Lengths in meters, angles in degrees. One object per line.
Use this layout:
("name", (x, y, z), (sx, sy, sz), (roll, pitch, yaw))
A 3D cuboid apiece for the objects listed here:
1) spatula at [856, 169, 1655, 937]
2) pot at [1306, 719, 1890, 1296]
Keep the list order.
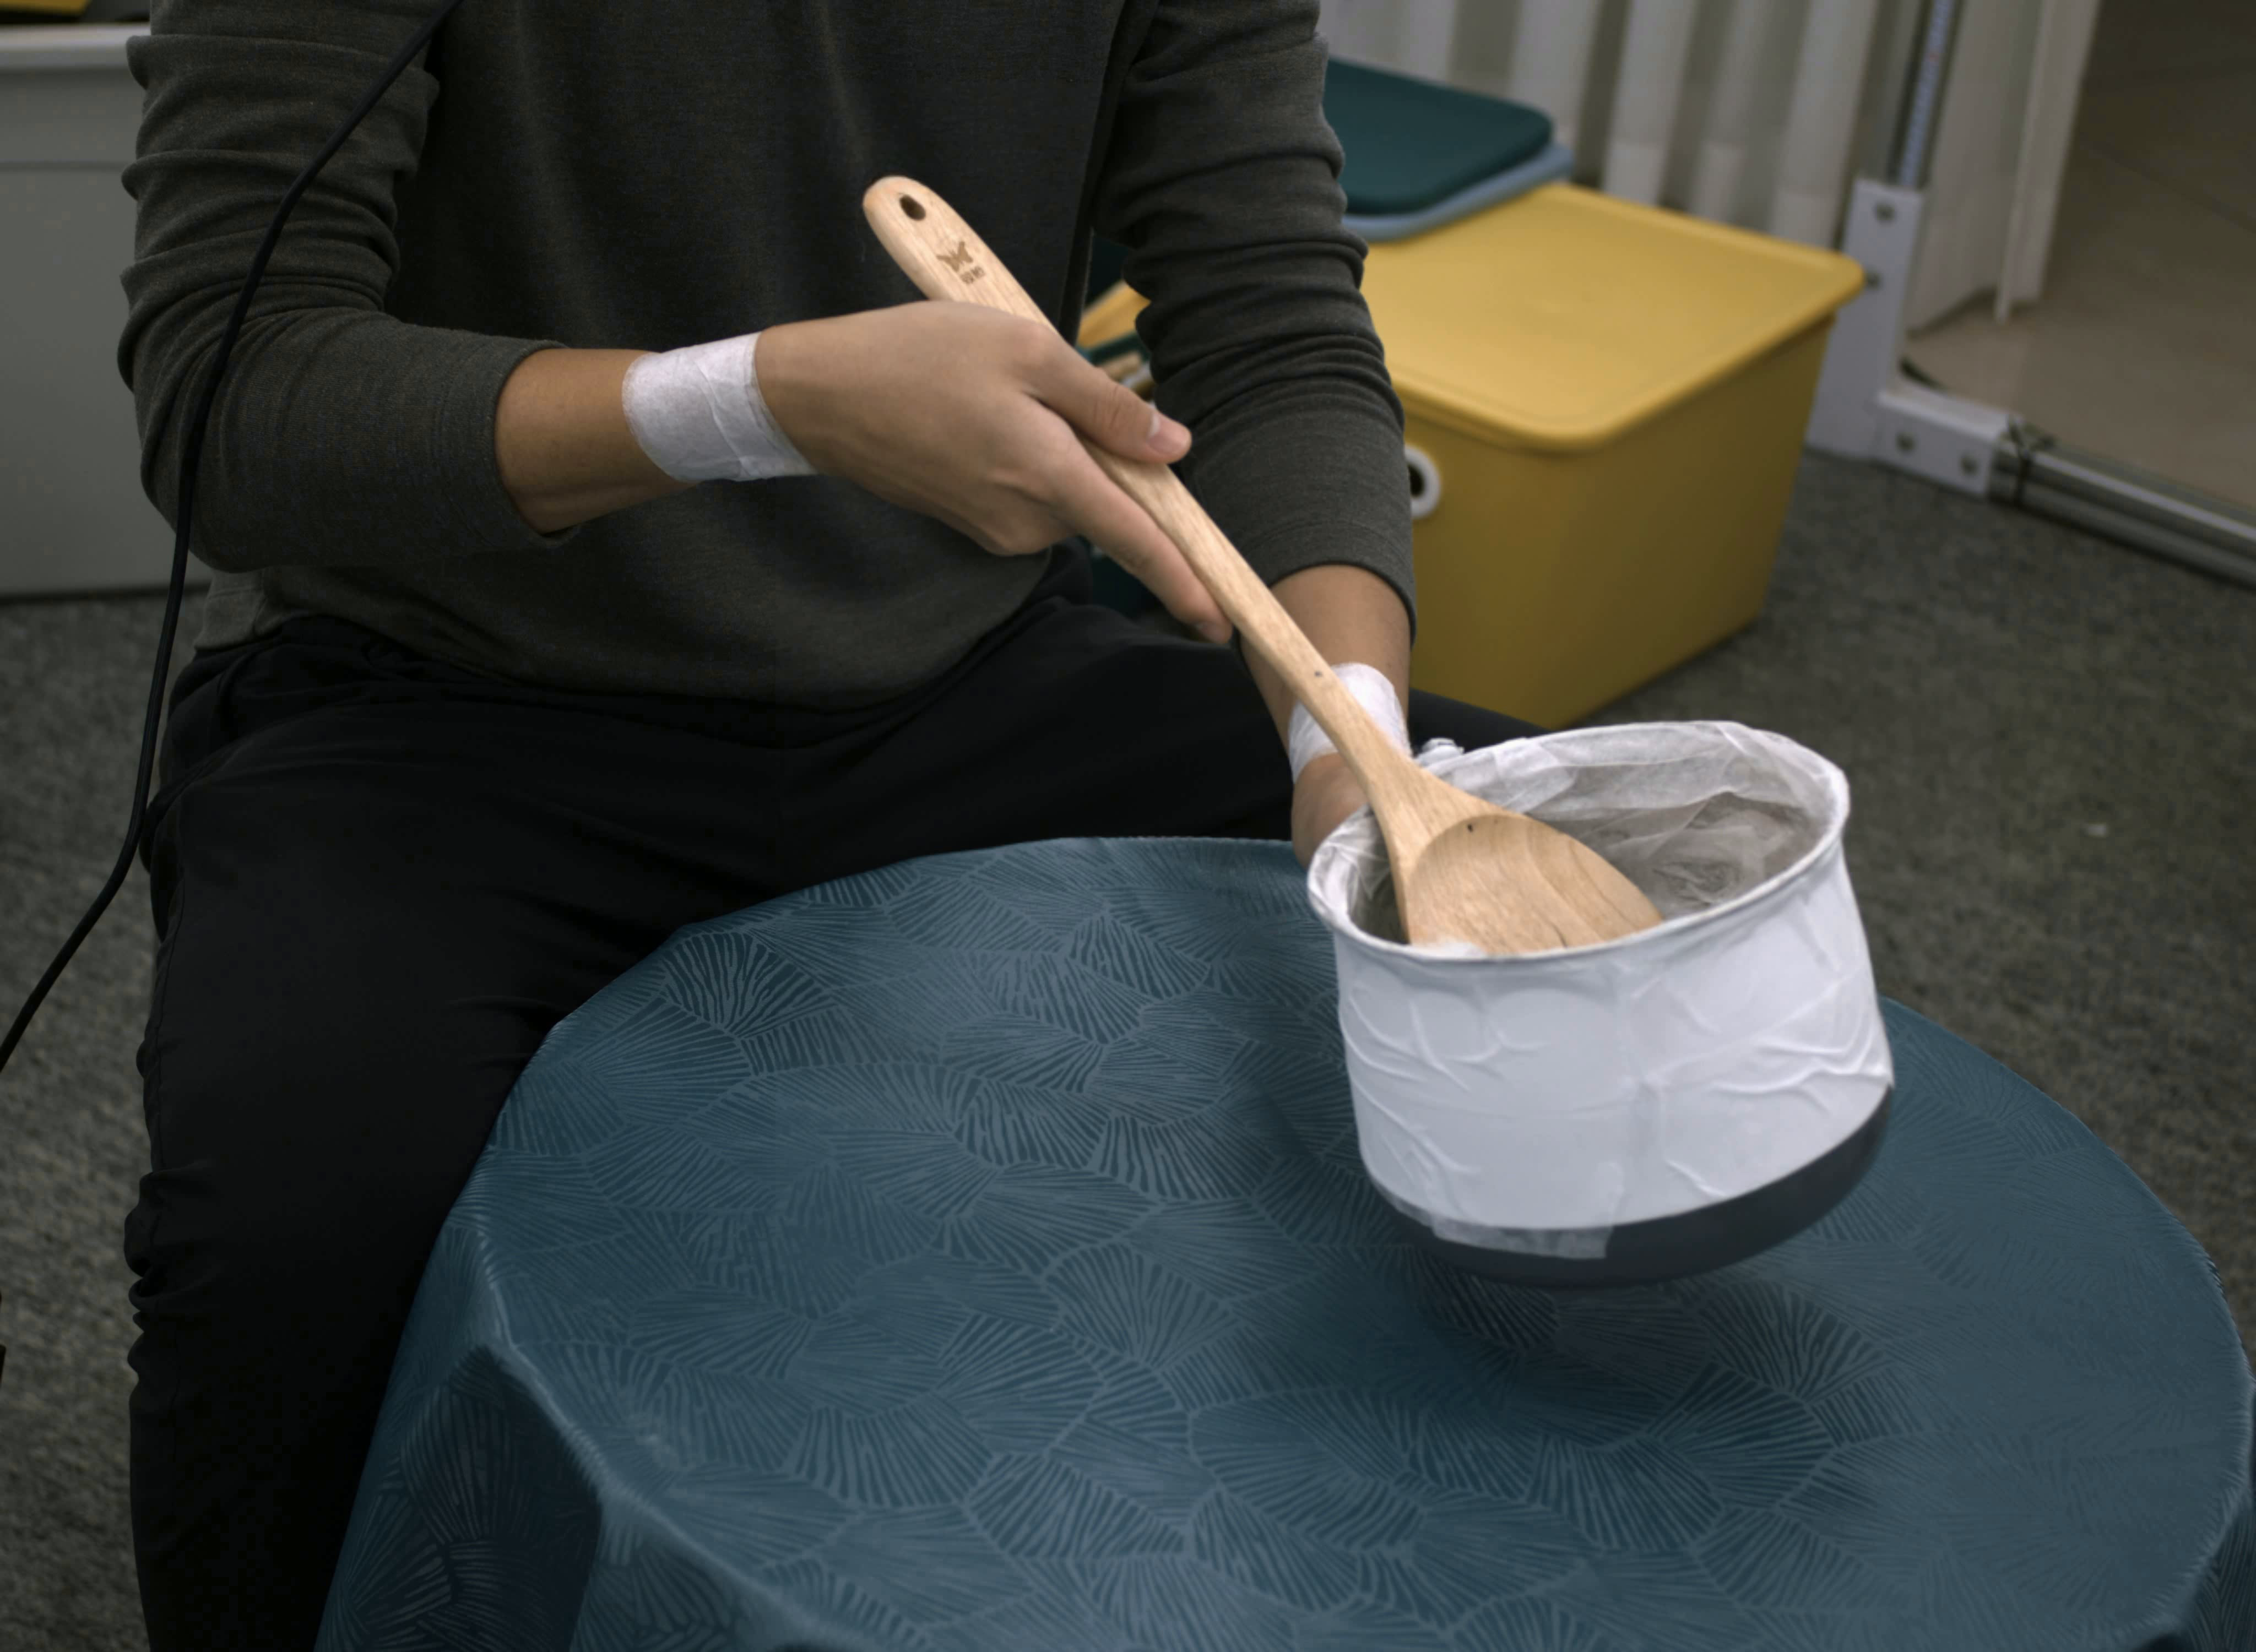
("spatula", (0.035, -0.073, 1.772), (0.095, 0.018, 0.392), (-33, 79, -38))
("pot", (0.143, 0.052, 1.757), (0.178, 0.136, 0.235), (-20, 23, -19))
